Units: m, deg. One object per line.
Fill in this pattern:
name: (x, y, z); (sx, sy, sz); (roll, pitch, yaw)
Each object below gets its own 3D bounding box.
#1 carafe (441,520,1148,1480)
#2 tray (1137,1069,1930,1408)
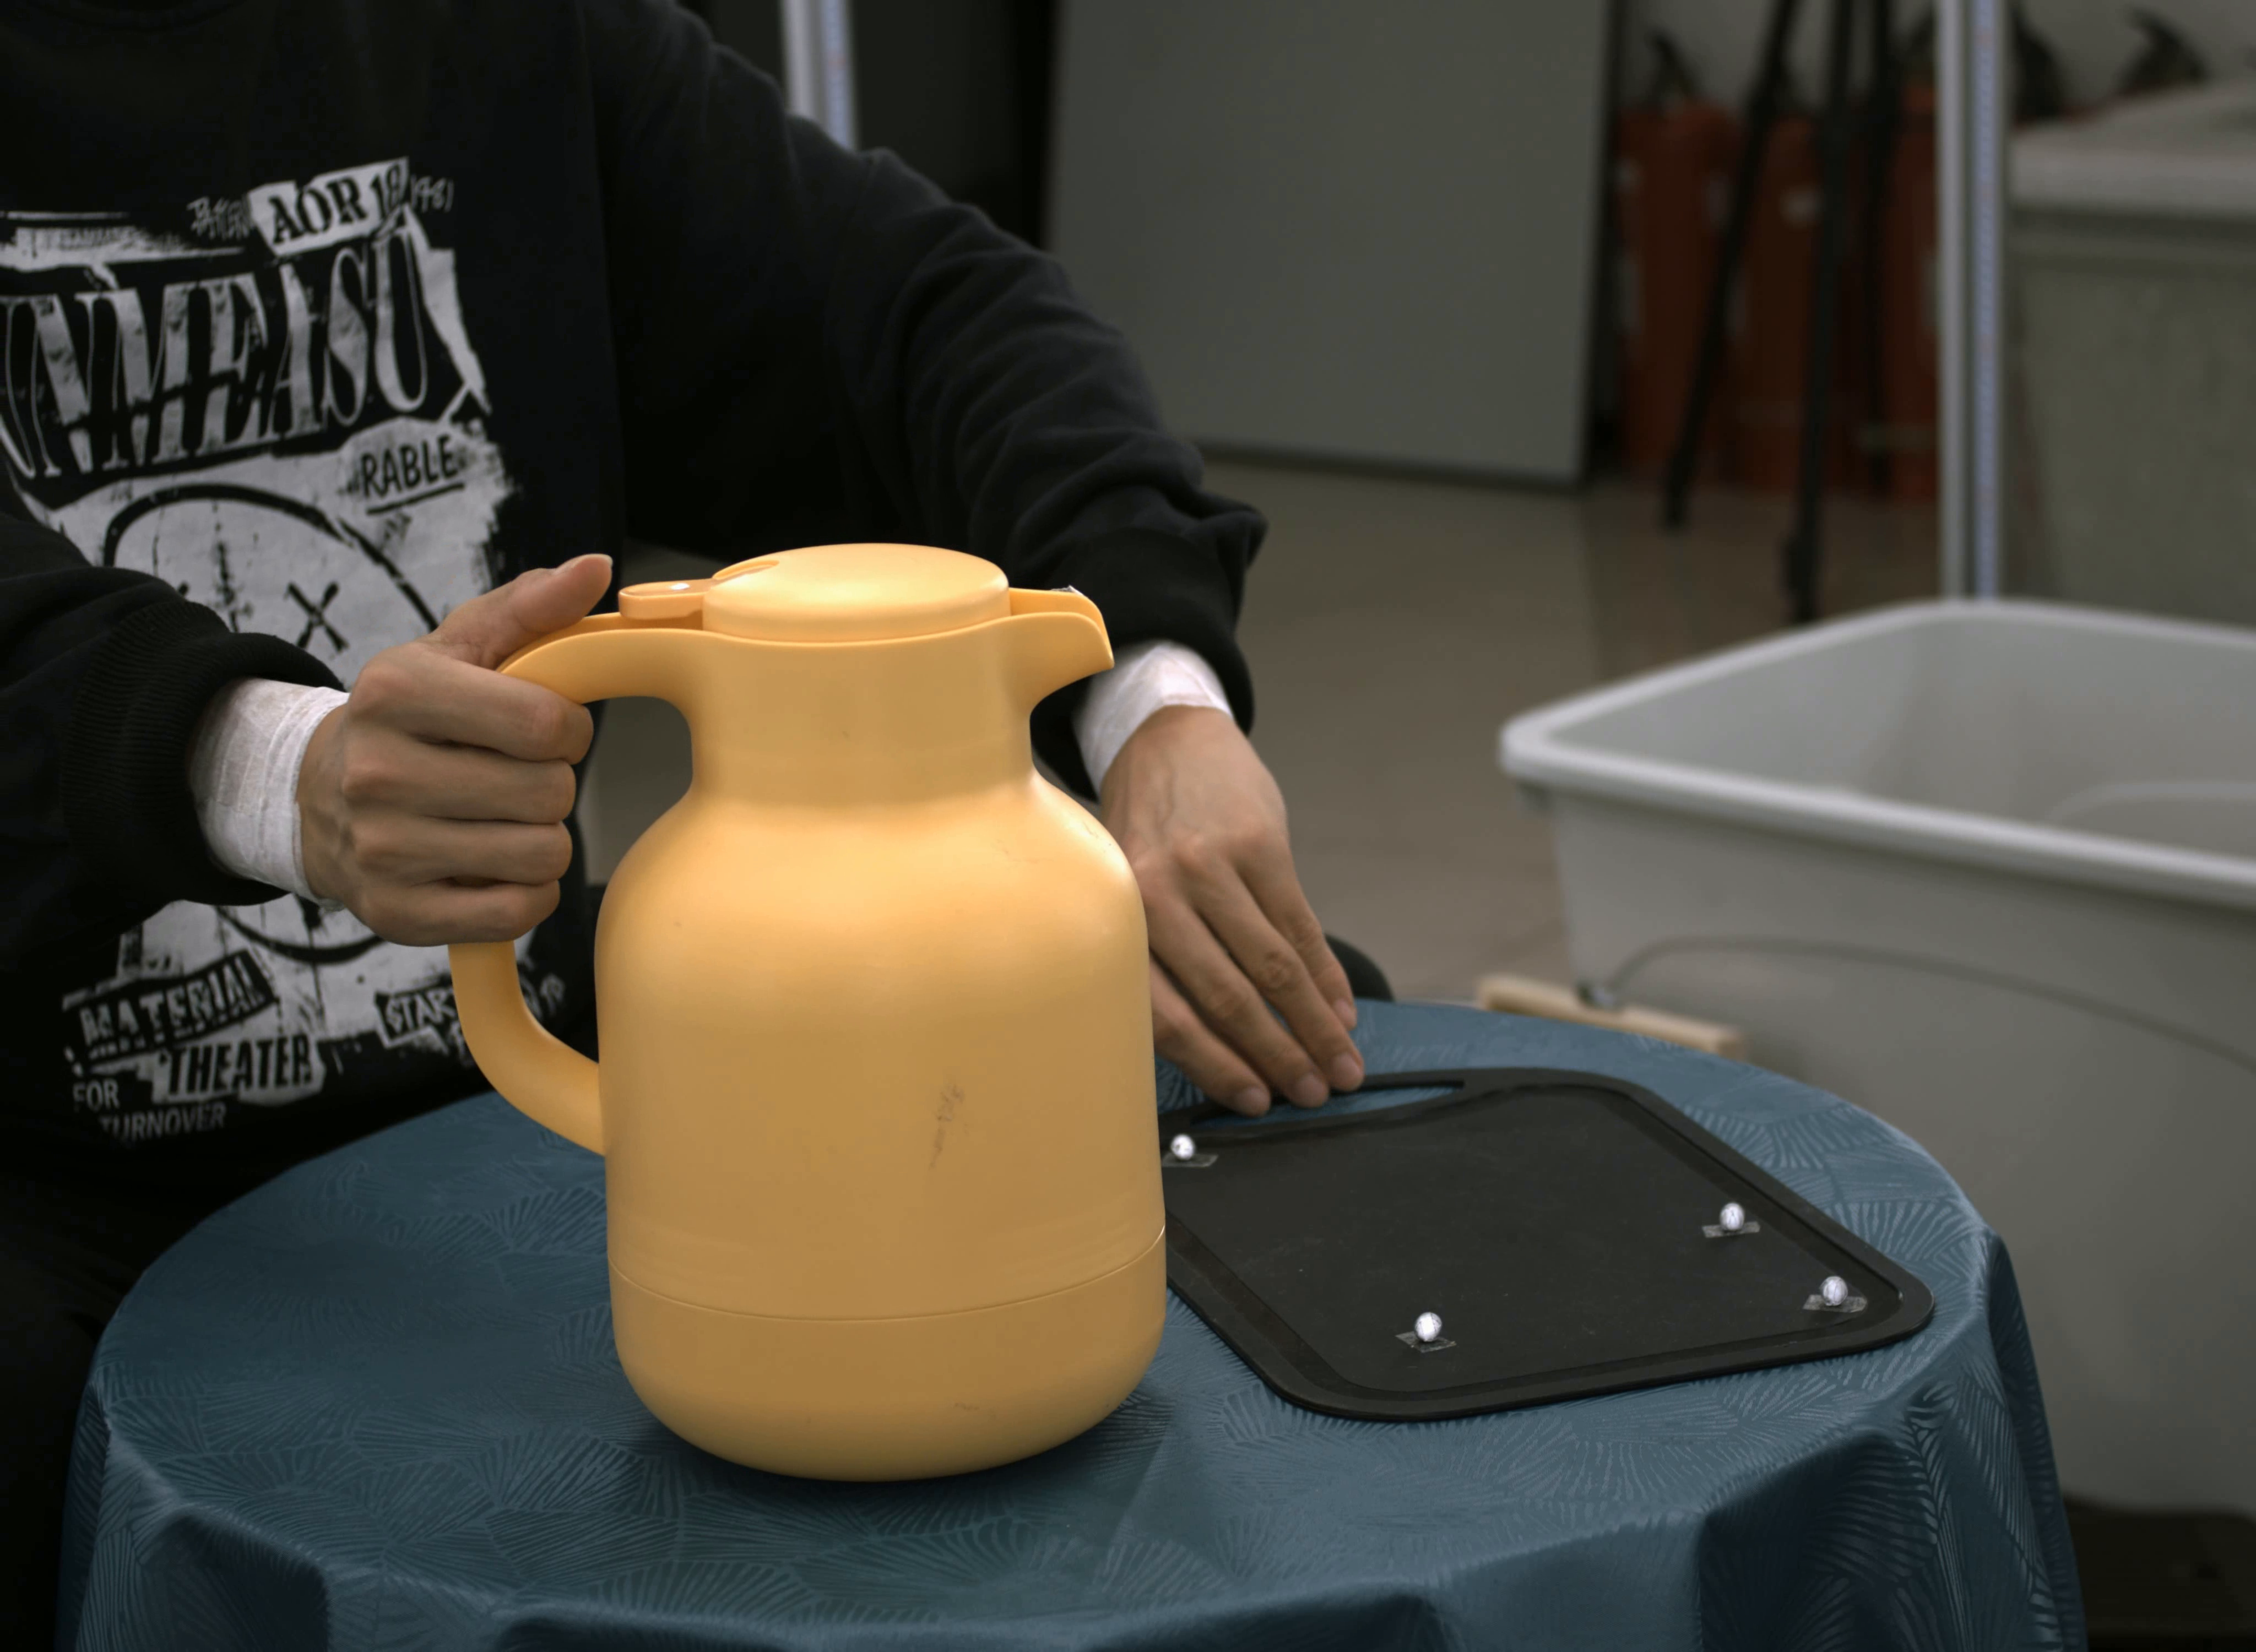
carafe: (-0.095, 0.045, 1.551); (0.200, 0.263, 0.163); (0, 10, 4)
tray: (0.108, 0.124, 1.714); (0.207, 0.010, 0.328); (-8, 14, -14)
